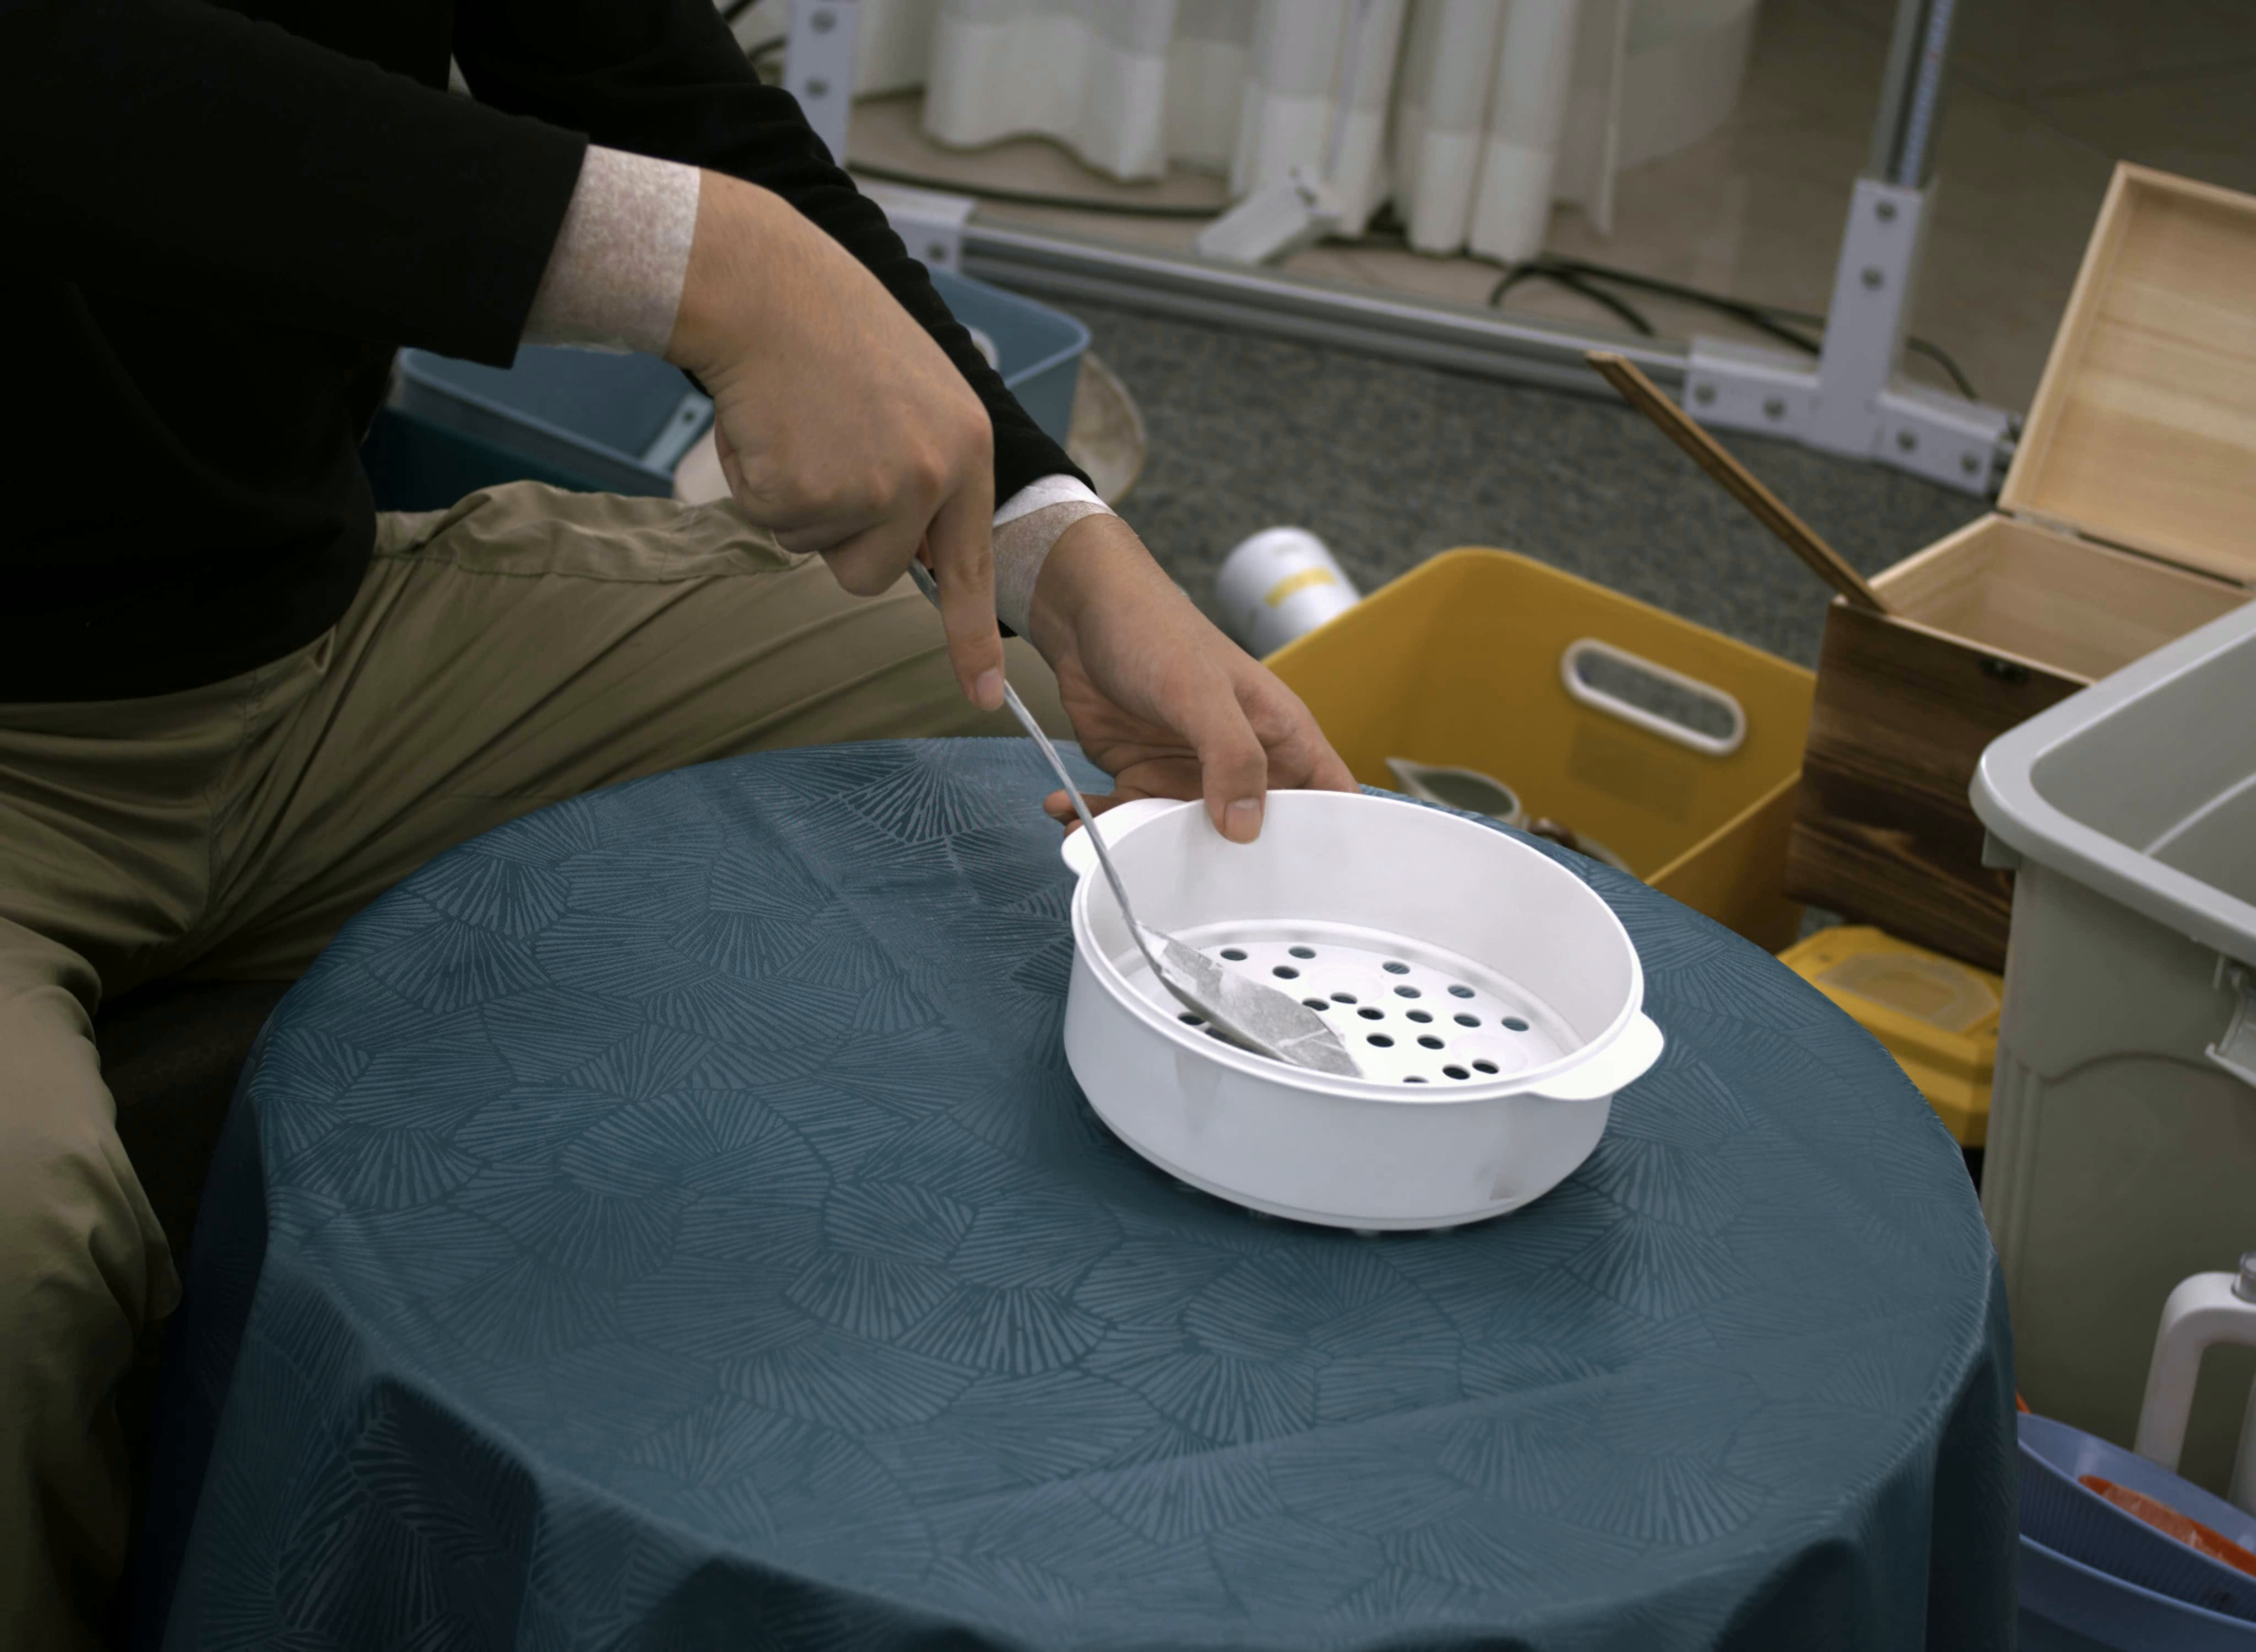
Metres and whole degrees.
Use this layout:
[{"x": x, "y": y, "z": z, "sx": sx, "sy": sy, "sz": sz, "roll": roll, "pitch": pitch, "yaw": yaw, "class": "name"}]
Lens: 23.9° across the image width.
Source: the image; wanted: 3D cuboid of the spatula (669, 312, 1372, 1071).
[{"x": -0.031, "y": -0.039, "z": 1.799, "sx": 0.045, "sy": 0.363, "sz": 0.099, "roll": -35, "pitch": 17, "yaw": 3, "class": "spatula"}]

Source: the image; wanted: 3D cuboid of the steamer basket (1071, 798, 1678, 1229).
[{"x": 0.080, "y": 0.066, "z": 1.851, "sx": 0.232, "sy": 0.069, "sz": 0.201, "roll": 25, "pitch": 32, "yaw": 29, "class": "steamer basket"}]
